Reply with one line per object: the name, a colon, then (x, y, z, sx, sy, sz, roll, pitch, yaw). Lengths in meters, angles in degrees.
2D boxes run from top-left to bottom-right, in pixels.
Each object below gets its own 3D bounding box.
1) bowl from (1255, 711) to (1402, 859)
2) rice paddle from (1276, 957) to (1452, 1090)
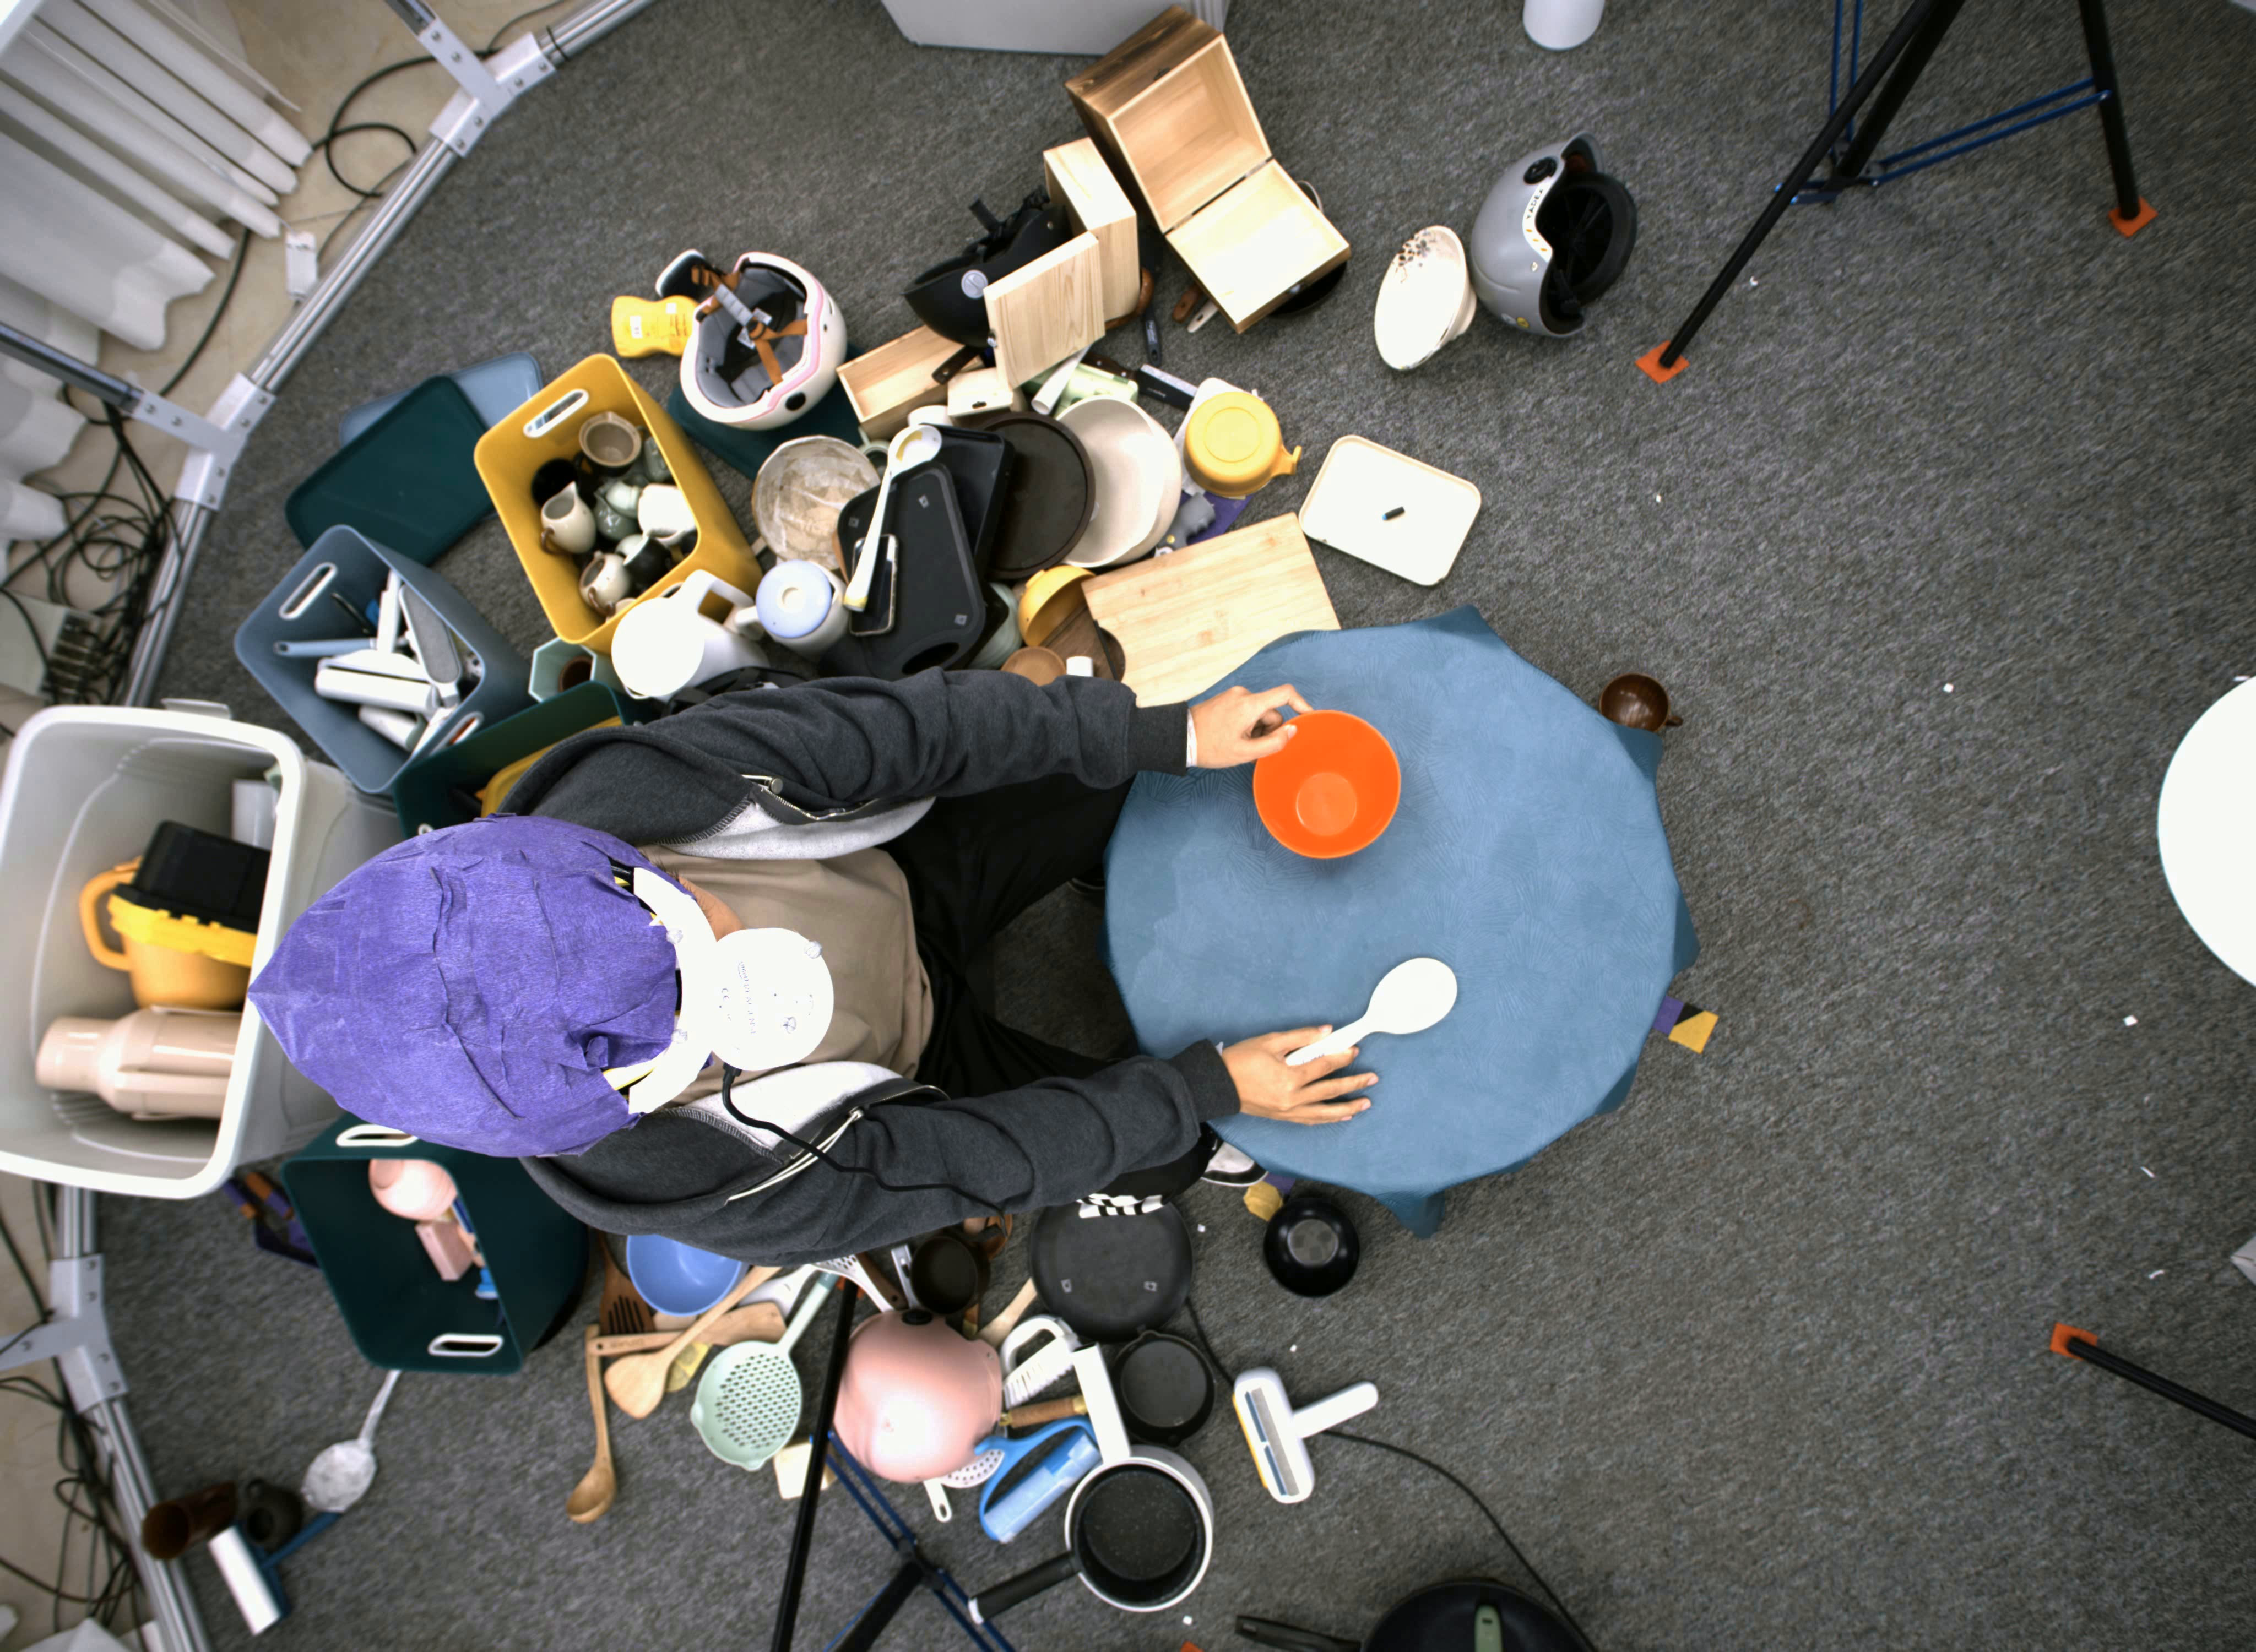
bowl: (0.206, -0.039, 1.426, 0.148, 0.104, 0.147, 0, 87, 9)
rice paddle: (0.246, 0.204, 1.437, 0.206, 0.029, 0.068, -34, 81, 4)
